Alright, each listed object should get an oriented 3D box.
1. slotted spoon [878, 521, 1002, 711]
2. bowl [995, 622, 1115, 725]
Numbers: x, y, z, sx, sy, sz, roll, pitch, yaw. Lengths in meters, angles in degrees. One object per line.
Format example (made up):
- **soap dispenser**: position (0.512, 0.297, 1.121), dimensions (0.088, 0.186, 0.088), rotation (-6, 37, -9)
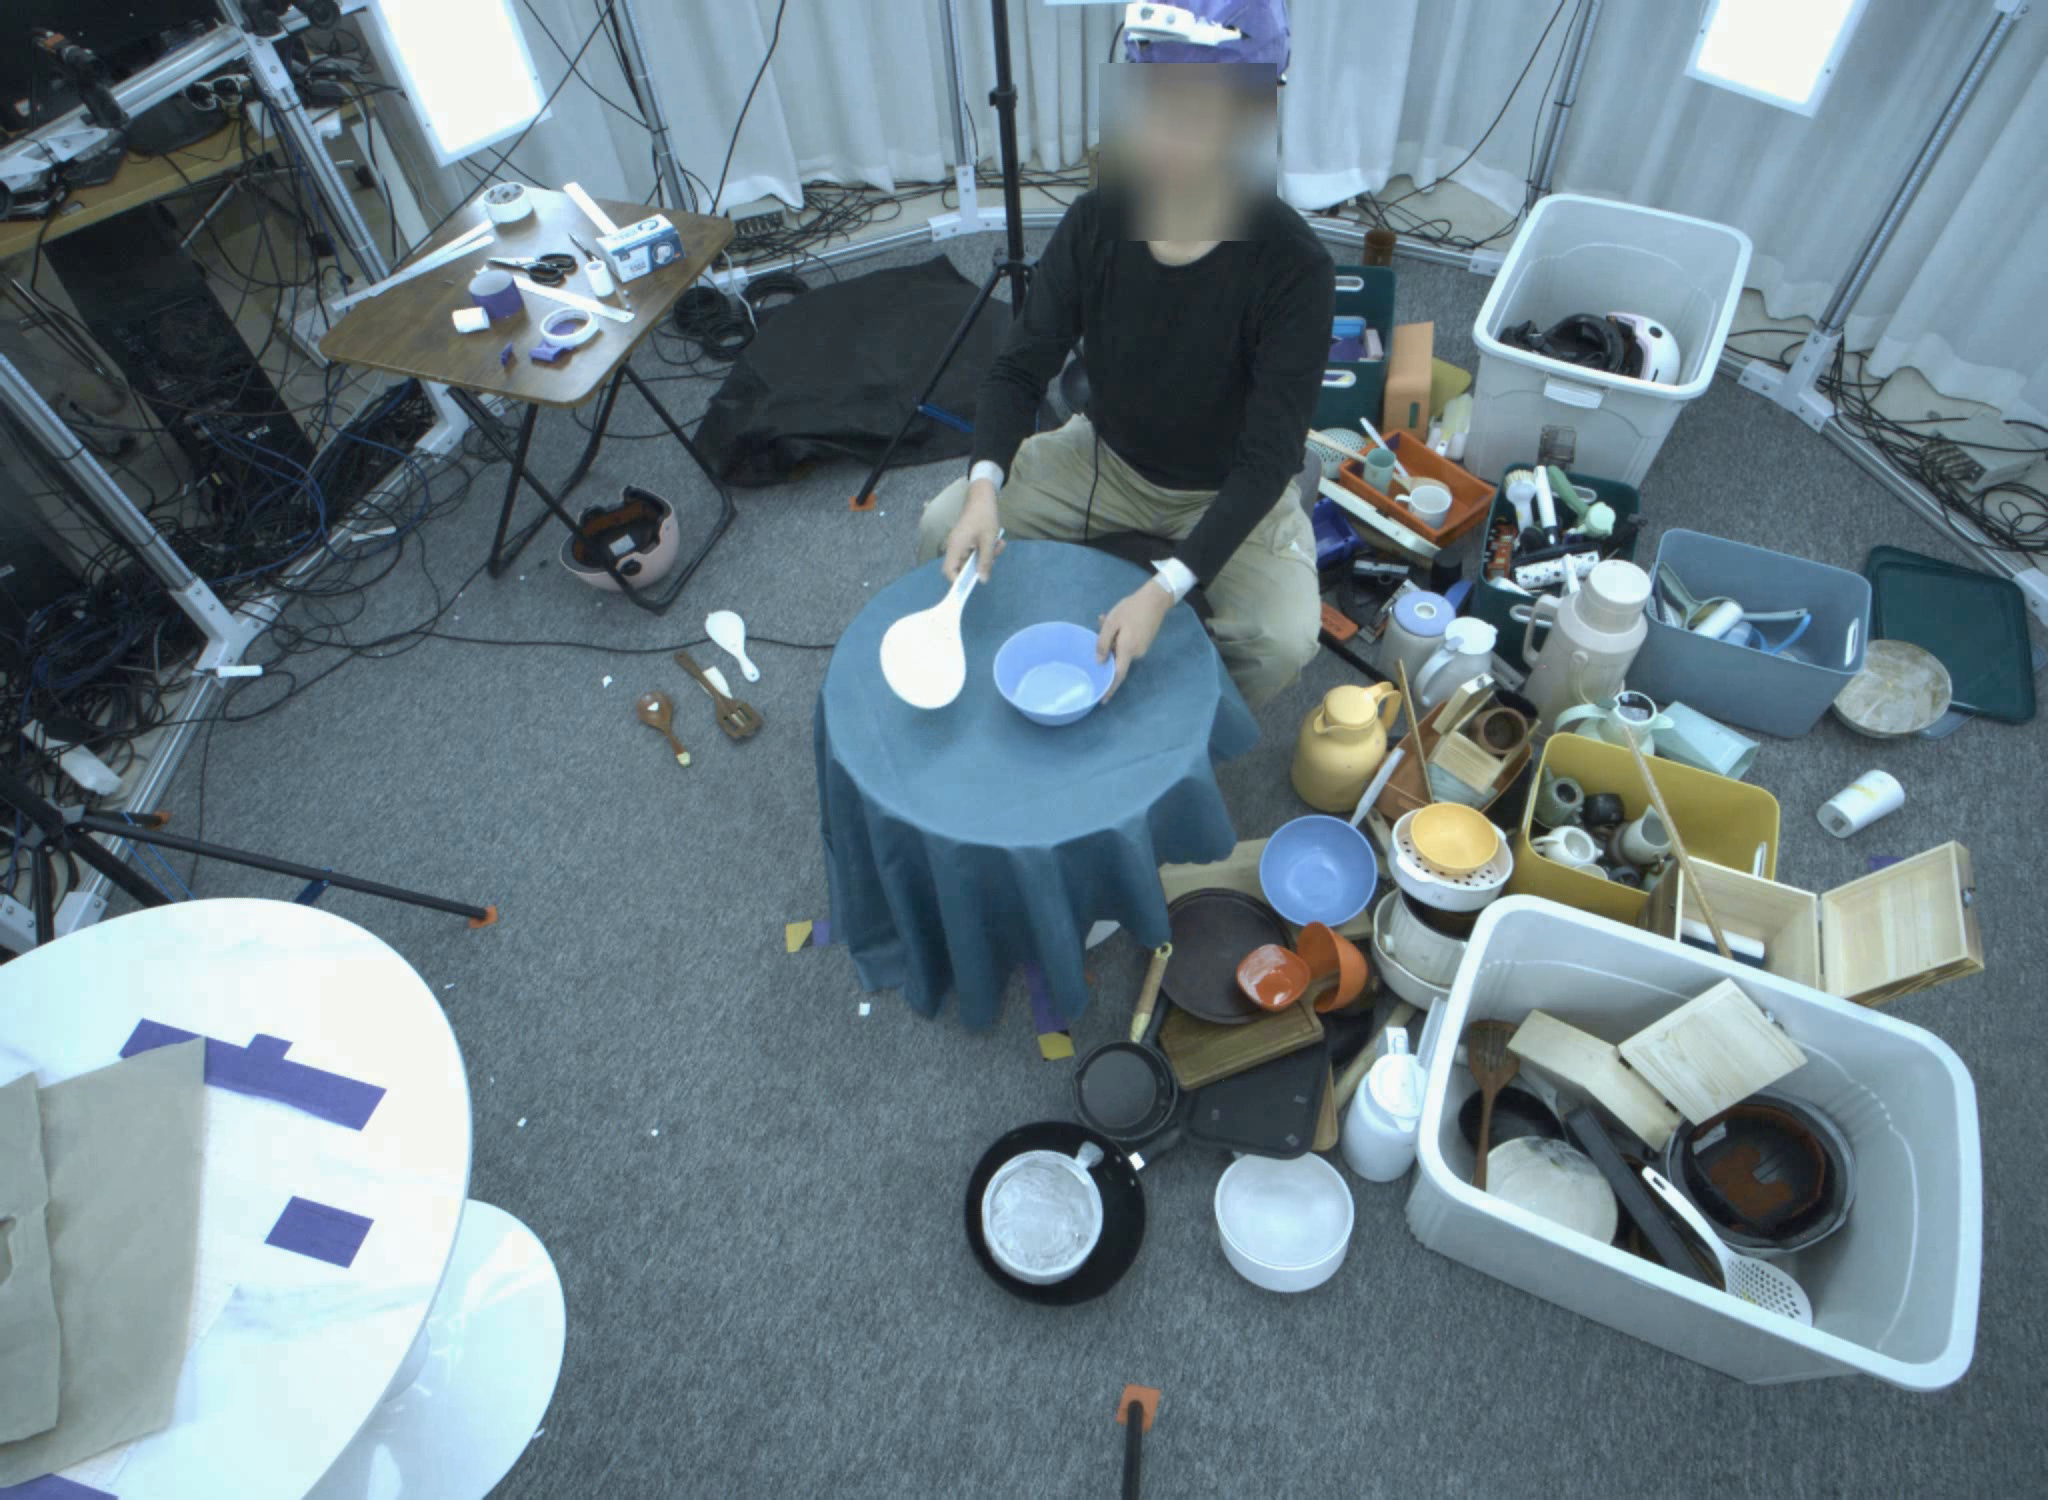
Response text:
- **slotted spoon**: position (-0.112, -0.208, 1.820), dimensions (0.138, 0.045, 0.349), rotation (36, 65, -22)
- **bowl**: position (0.047, -0.102, 1.815), dimensions (0.176, 0.071, 0.174), rotation (0, 55, 1)
